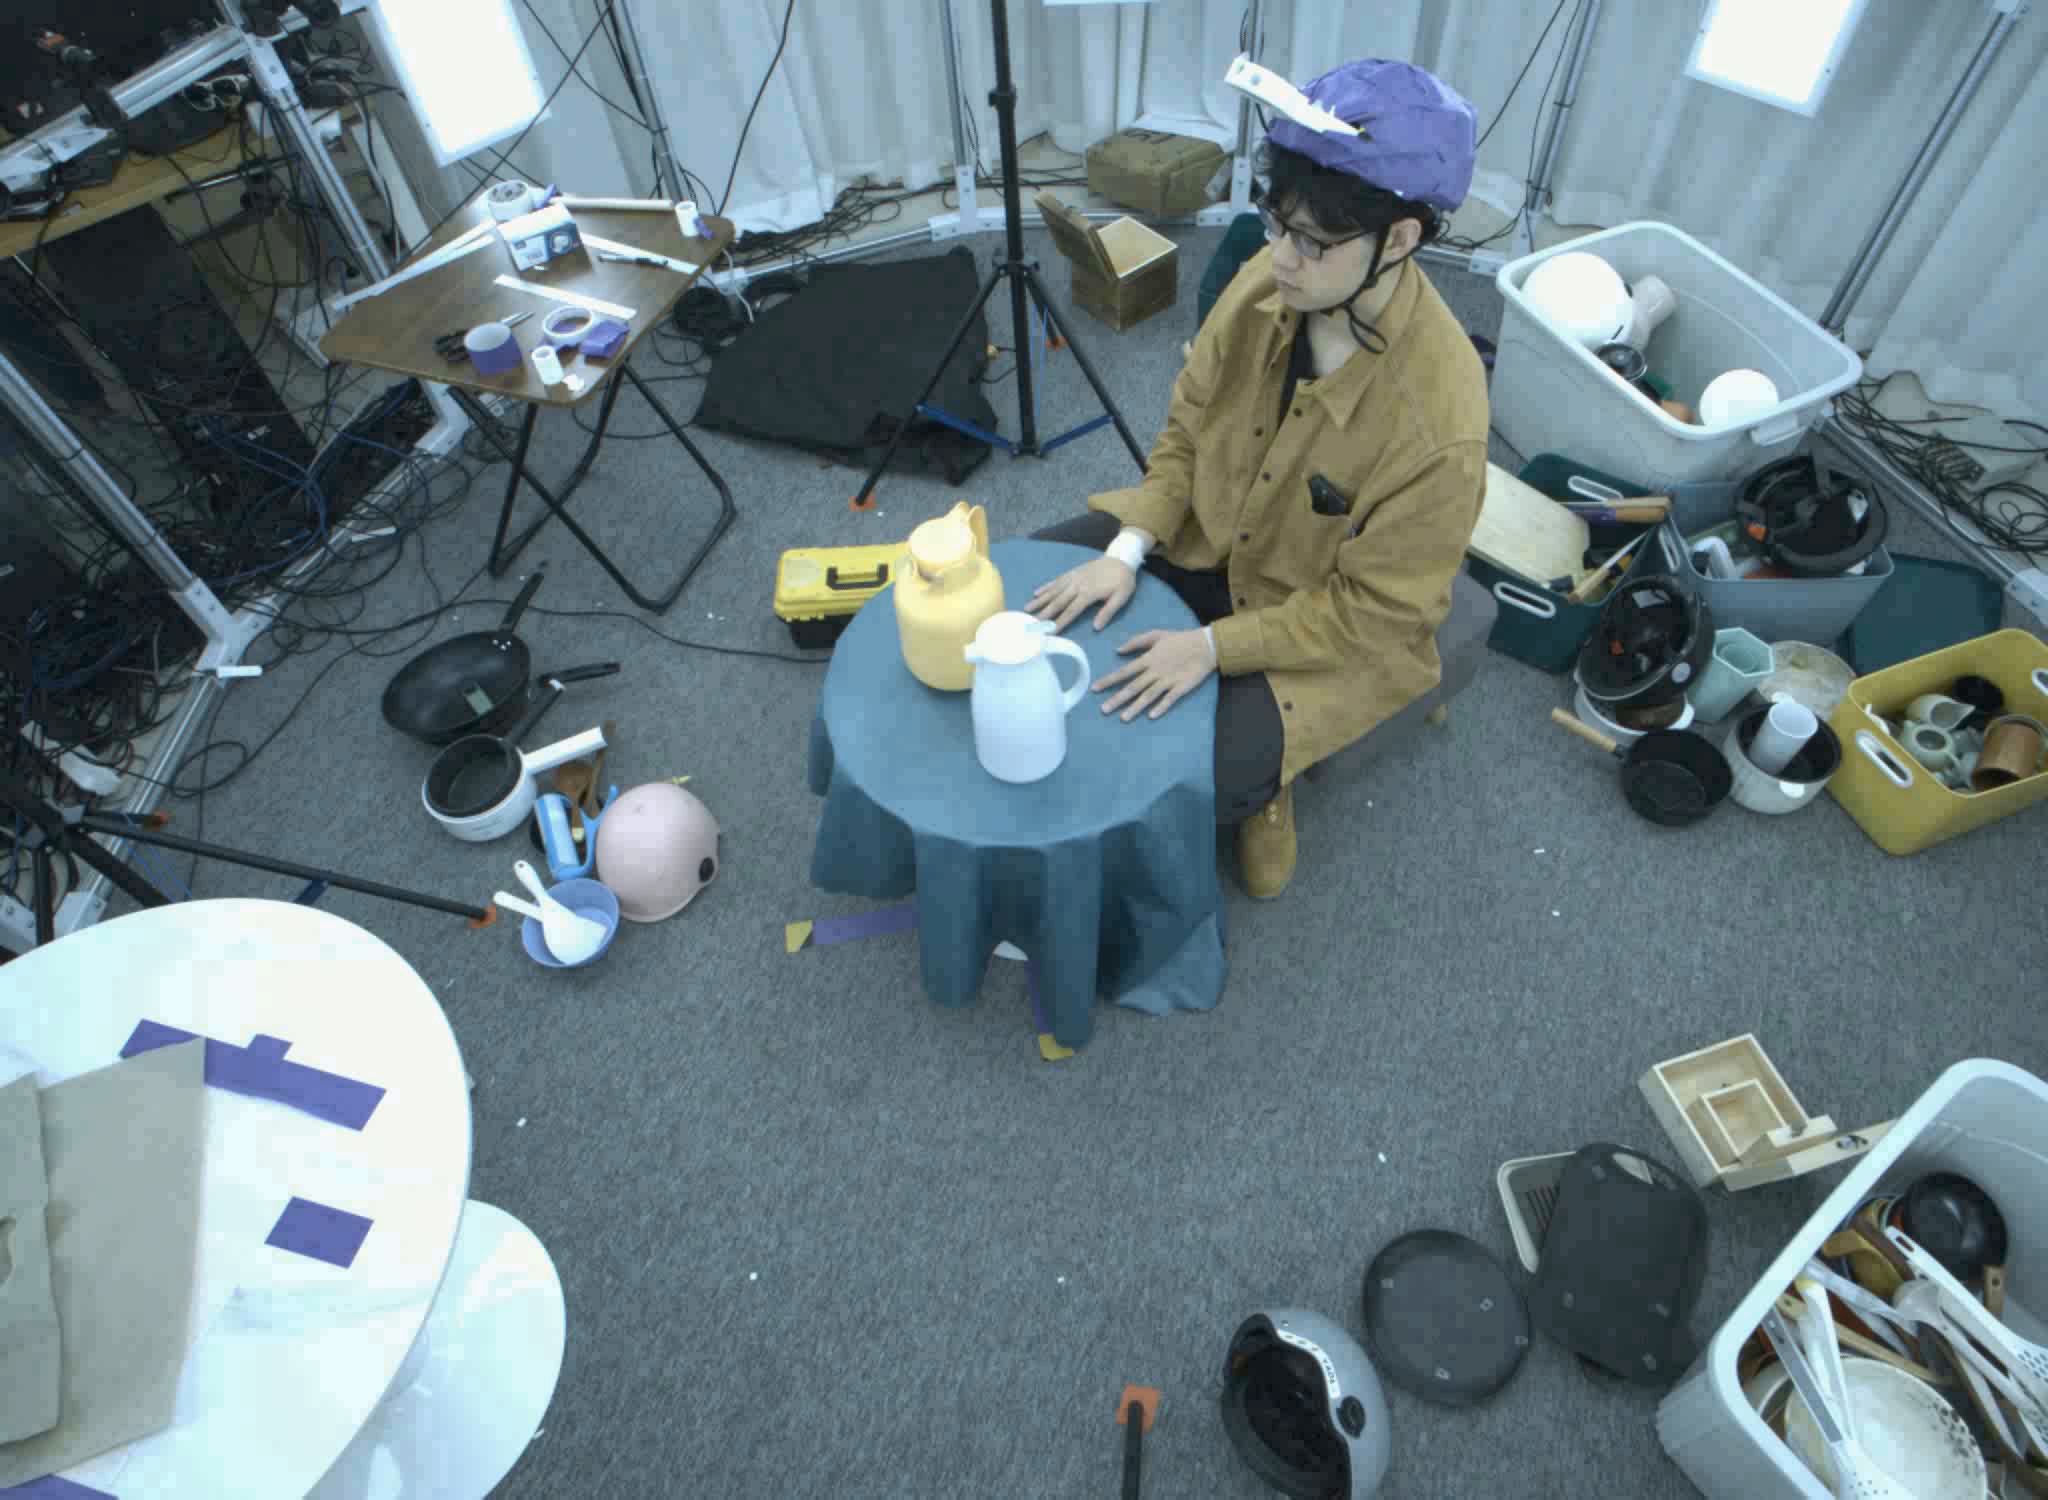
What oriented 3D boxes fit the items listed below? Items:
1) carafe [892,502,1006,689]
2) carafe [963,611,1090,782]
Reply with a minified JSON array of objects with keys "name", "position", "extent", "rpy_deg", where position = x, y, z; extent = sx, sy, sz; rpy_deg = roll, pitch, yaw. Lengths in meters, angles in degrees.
[{"name":"carafe","position":[-0.101,-0.232,1.791],"extent":[0.162,0.263,0.202],"rpy_deg":[19,59,13]},{"name":"carafe","position":[0.007,-0.083,1.688],"extent":[0.168,0.251,0.130],"rpy_deg":[-10,54,-4]}]
